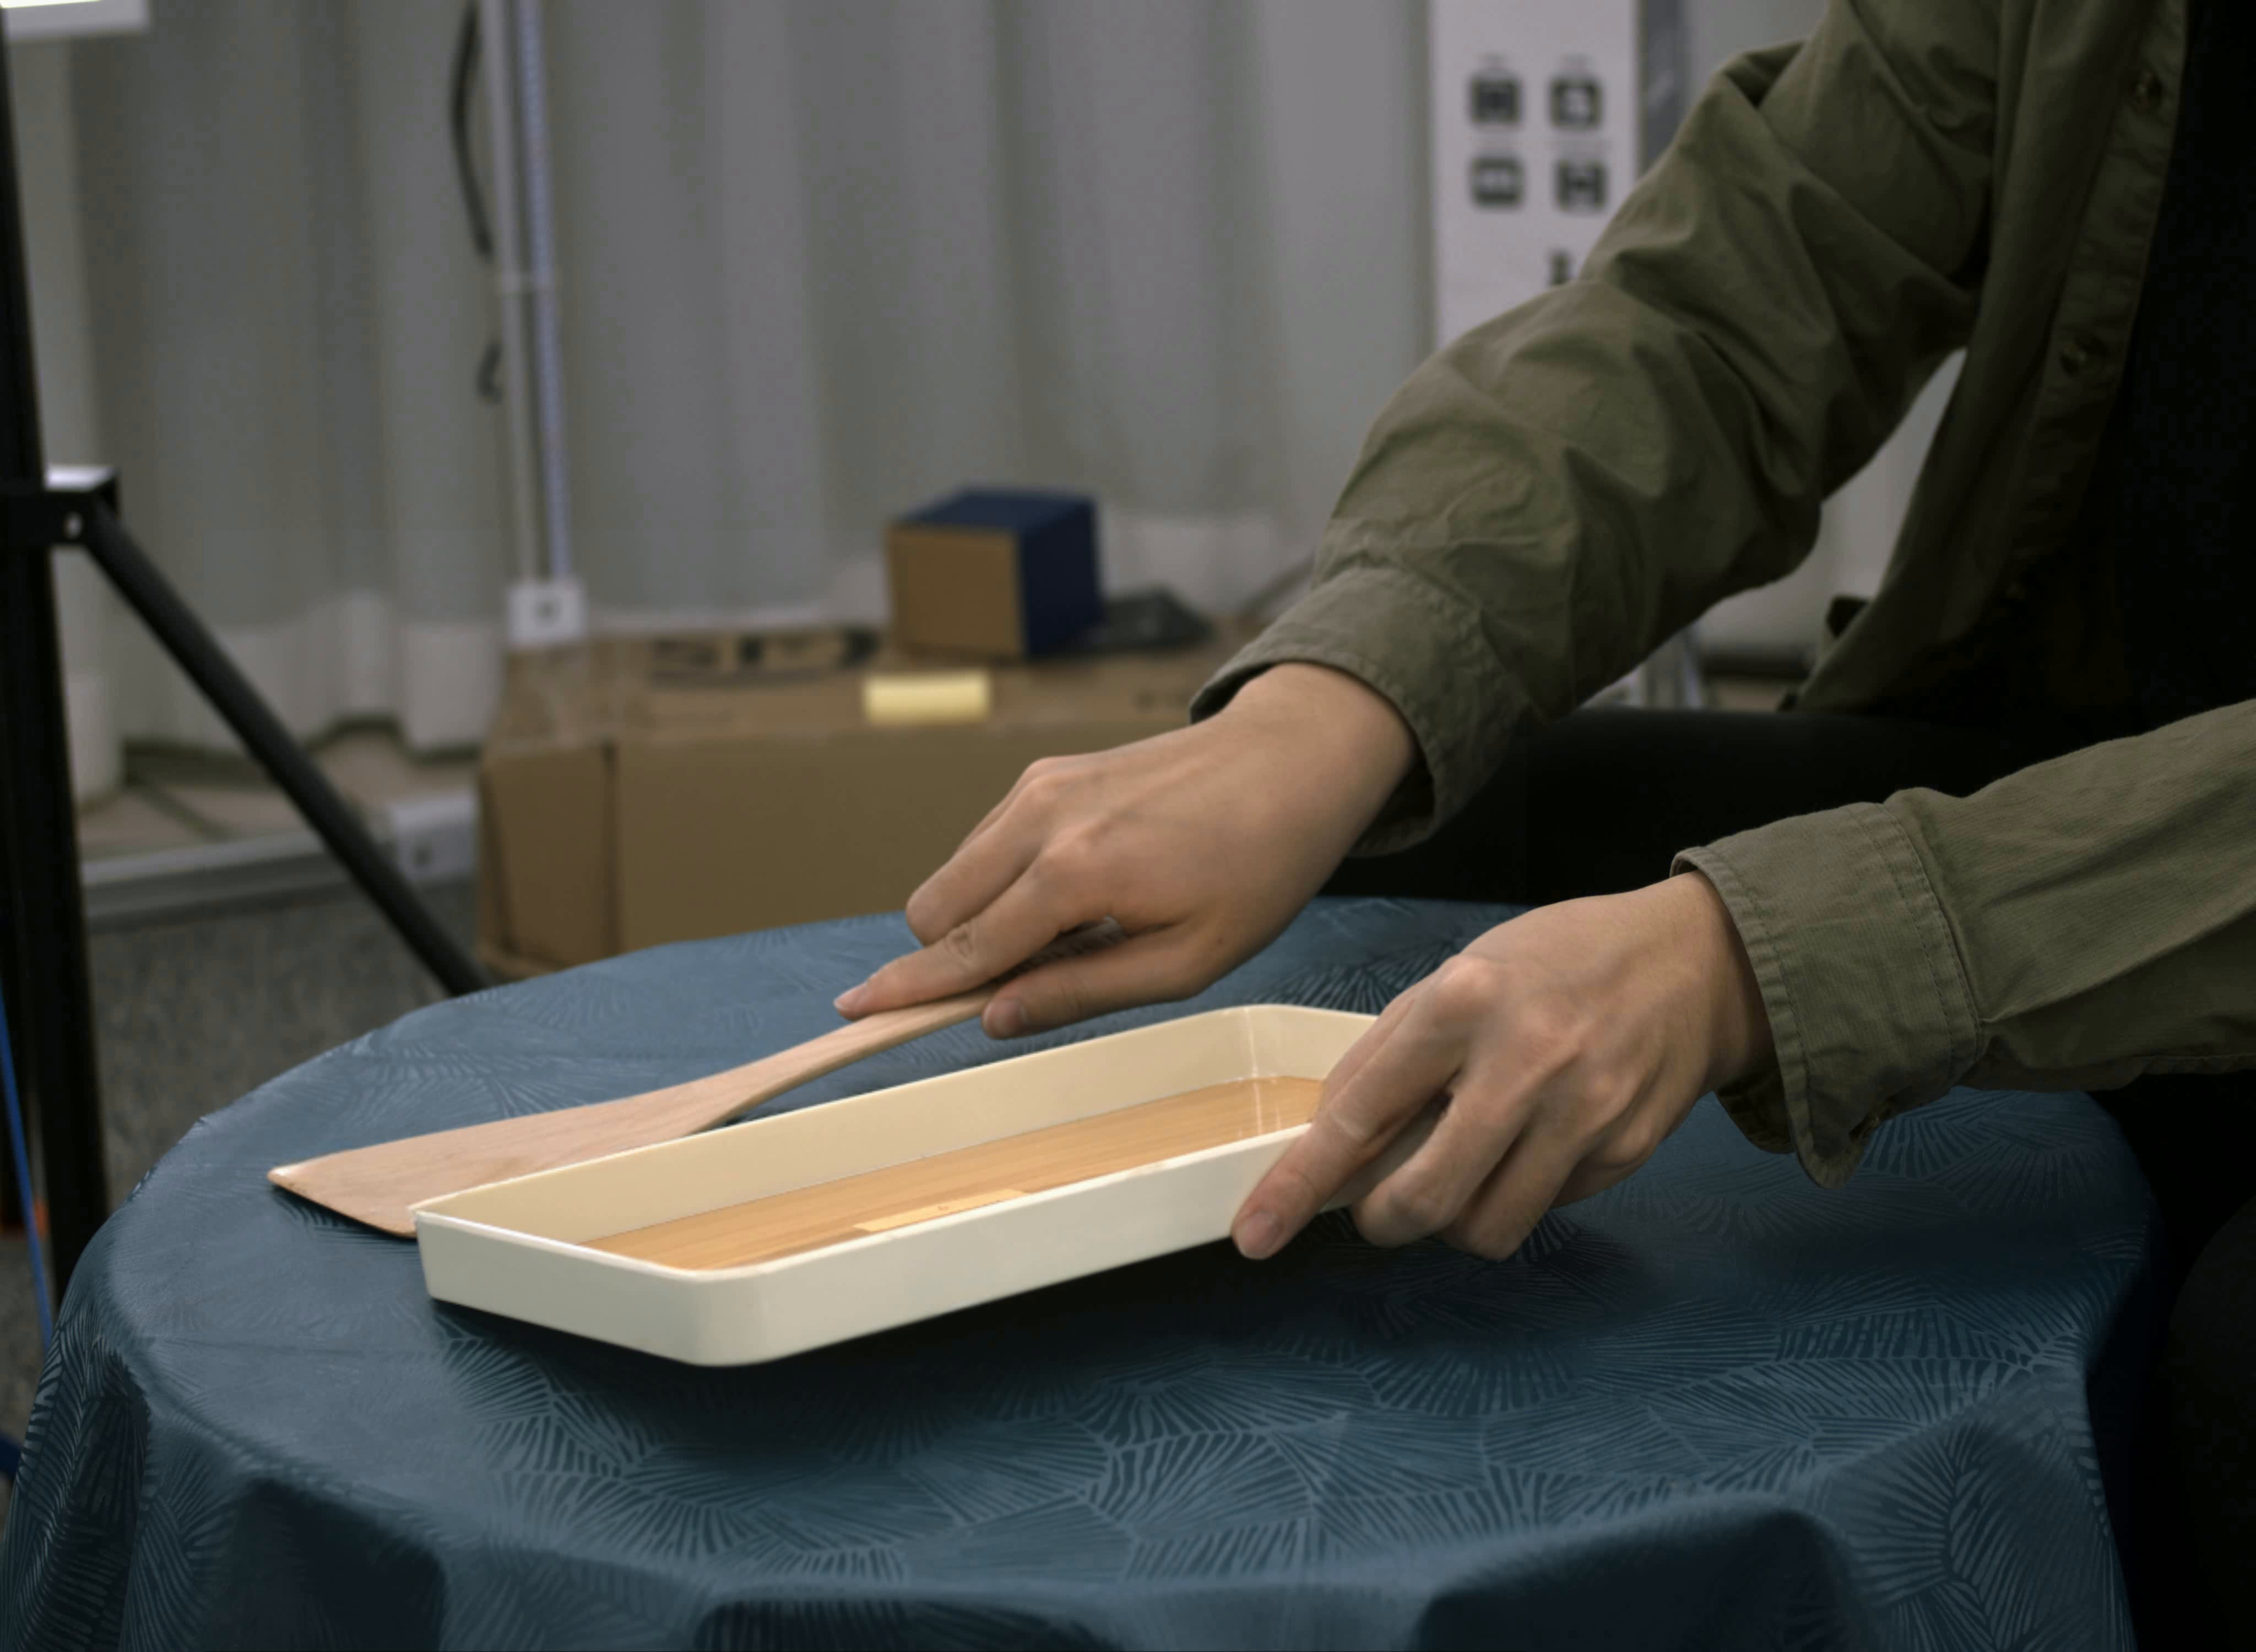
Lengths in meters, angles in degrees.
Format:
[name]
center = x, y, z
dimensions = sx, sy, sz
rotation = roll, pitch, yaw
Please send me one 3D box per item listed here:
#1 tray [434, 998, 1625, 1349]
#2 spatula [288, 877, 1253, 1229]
[tray]
center = -0.027, 0.095, 1.506
dimensions = 0.293, 0.027, 0.195
rotation = -11, 9, -30
[spatula]
center = -0.098, 0.066, 1.647
dimensions = 0.321, 0.016, 0.082
rotation = -20, 23, -25
